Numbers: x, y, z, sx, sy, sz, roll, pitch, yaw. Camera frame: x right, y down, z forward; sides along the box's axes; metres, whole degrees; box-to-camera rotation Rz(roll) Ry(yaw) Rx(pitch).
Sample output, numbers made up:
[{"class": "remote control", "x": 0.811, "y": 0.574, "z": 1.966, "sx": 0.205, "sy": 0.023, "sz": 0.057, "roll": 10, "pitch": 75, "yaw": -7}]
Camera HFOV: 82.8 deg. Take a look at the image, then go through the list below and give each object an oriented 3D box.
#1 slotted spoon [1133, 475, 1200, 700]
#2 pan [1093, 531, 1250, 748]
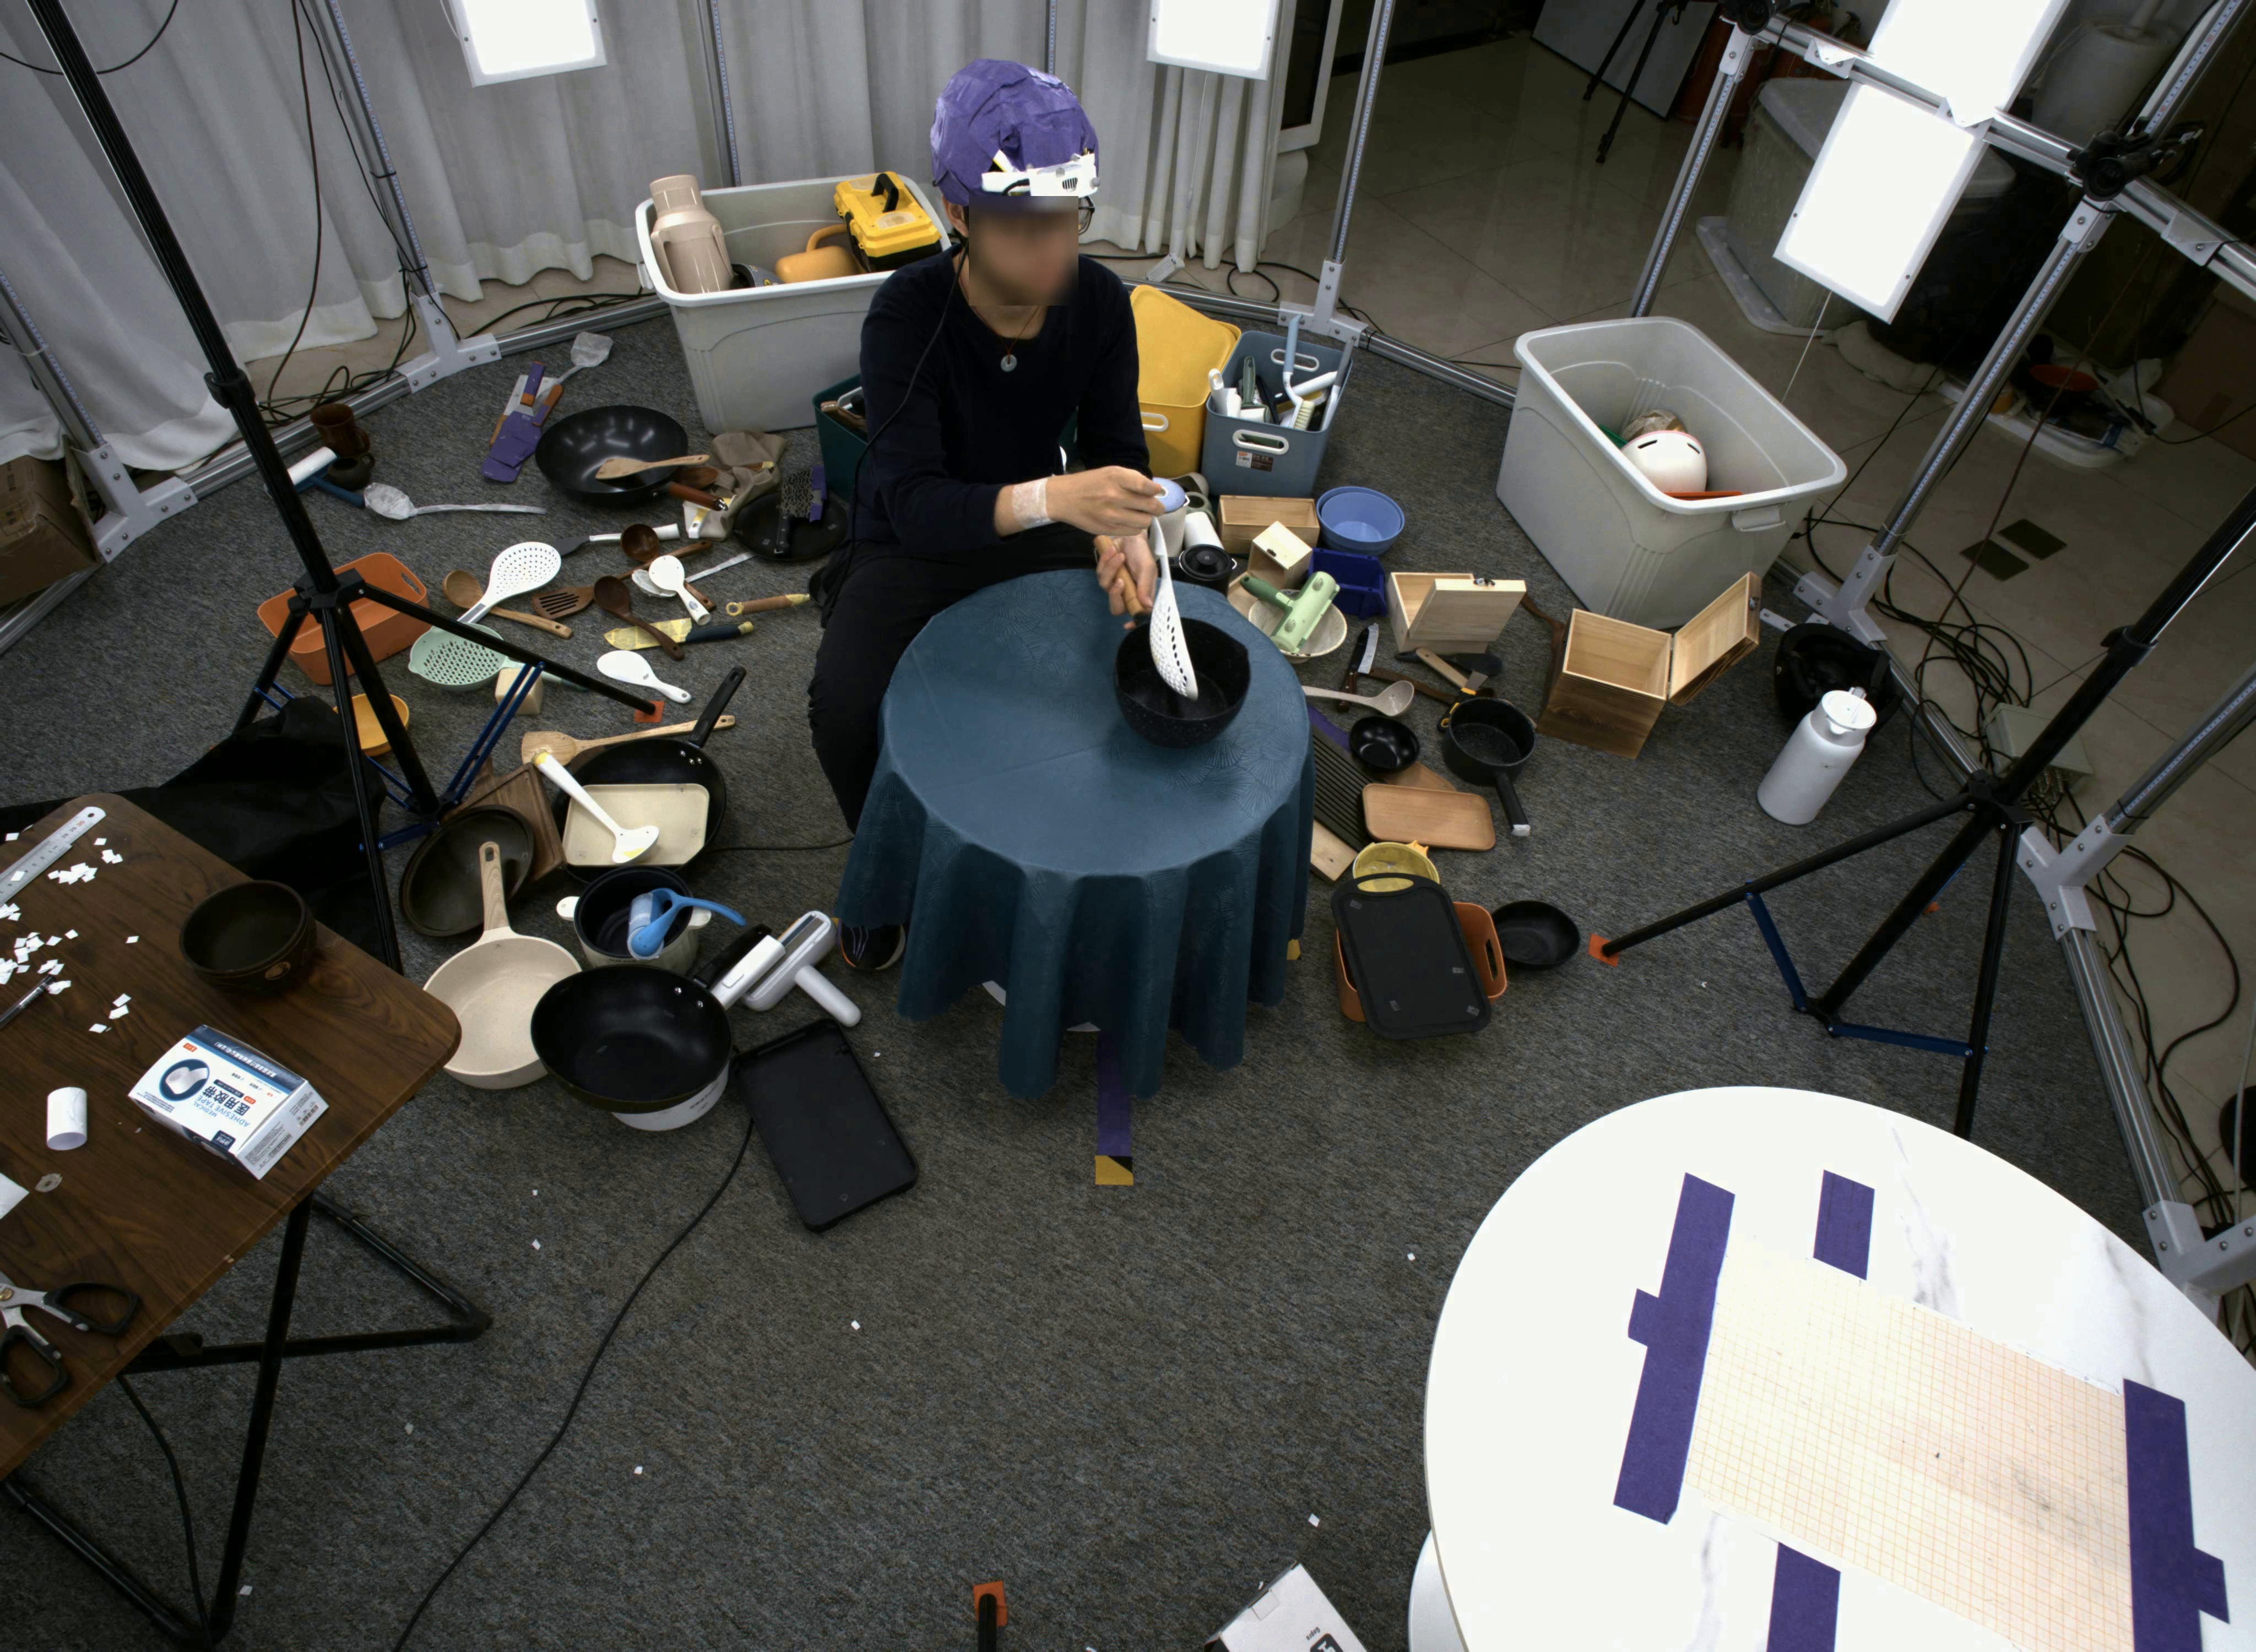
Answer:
[{"class": "slotted spoon", "x": 0.043, "y": -0.304, "z": 1.643, "sx": 0.050, "sy": 0.339, "sz": 0.140, "roll": -15, "pitch": 46, "yaw": -7}, {"class": "pan", "x": 0.030, "y": -0.256, "z": 1.773, "sx": 0.208, "sy": 0.106, "sz": 0.349, "roll": -21, "pitch": 60, "yaw": -20}]
